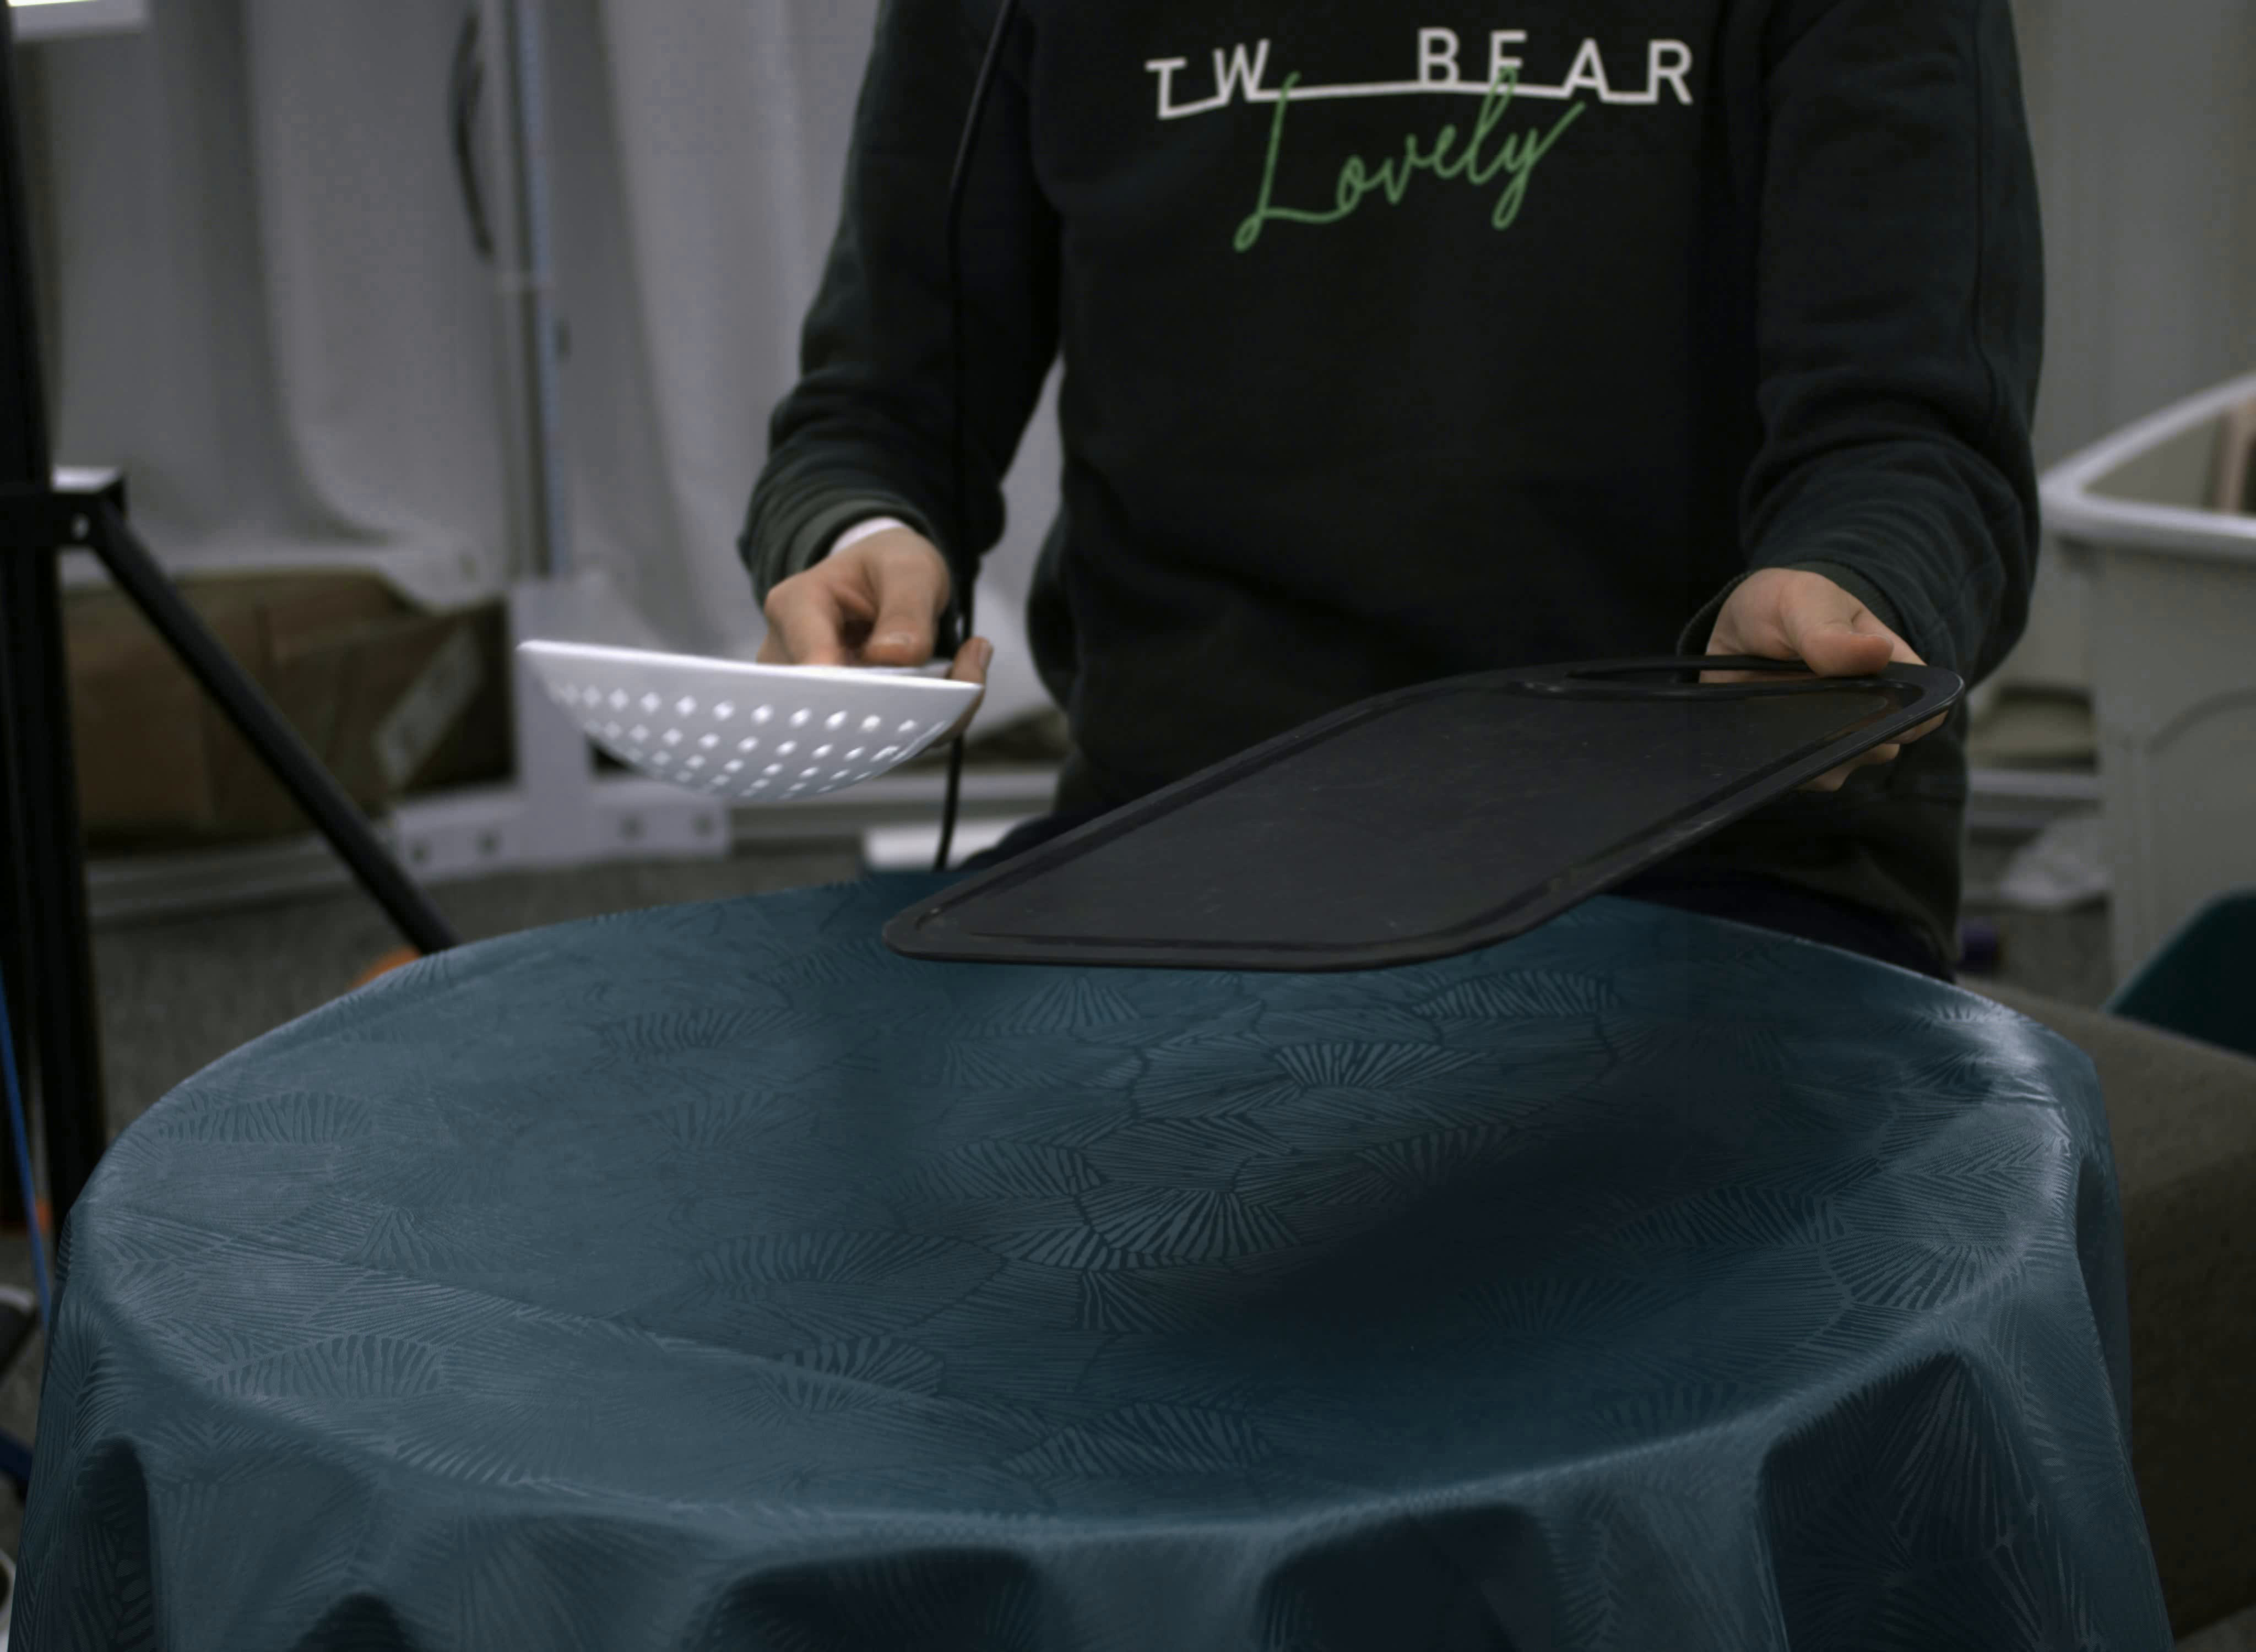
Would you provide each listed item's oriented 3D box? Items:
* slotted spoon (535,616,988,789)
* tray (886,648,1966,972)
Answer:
[{"bbox_3d":[-0.094,-0.046,1.675,0.136,0.046,0.347,8,7,8],"label":"slotted spoon"},{"bbox_3d":[0.092,-0.010,1.501,0.215,0.010,0.319,1,17,40],"label":"tray"}]
